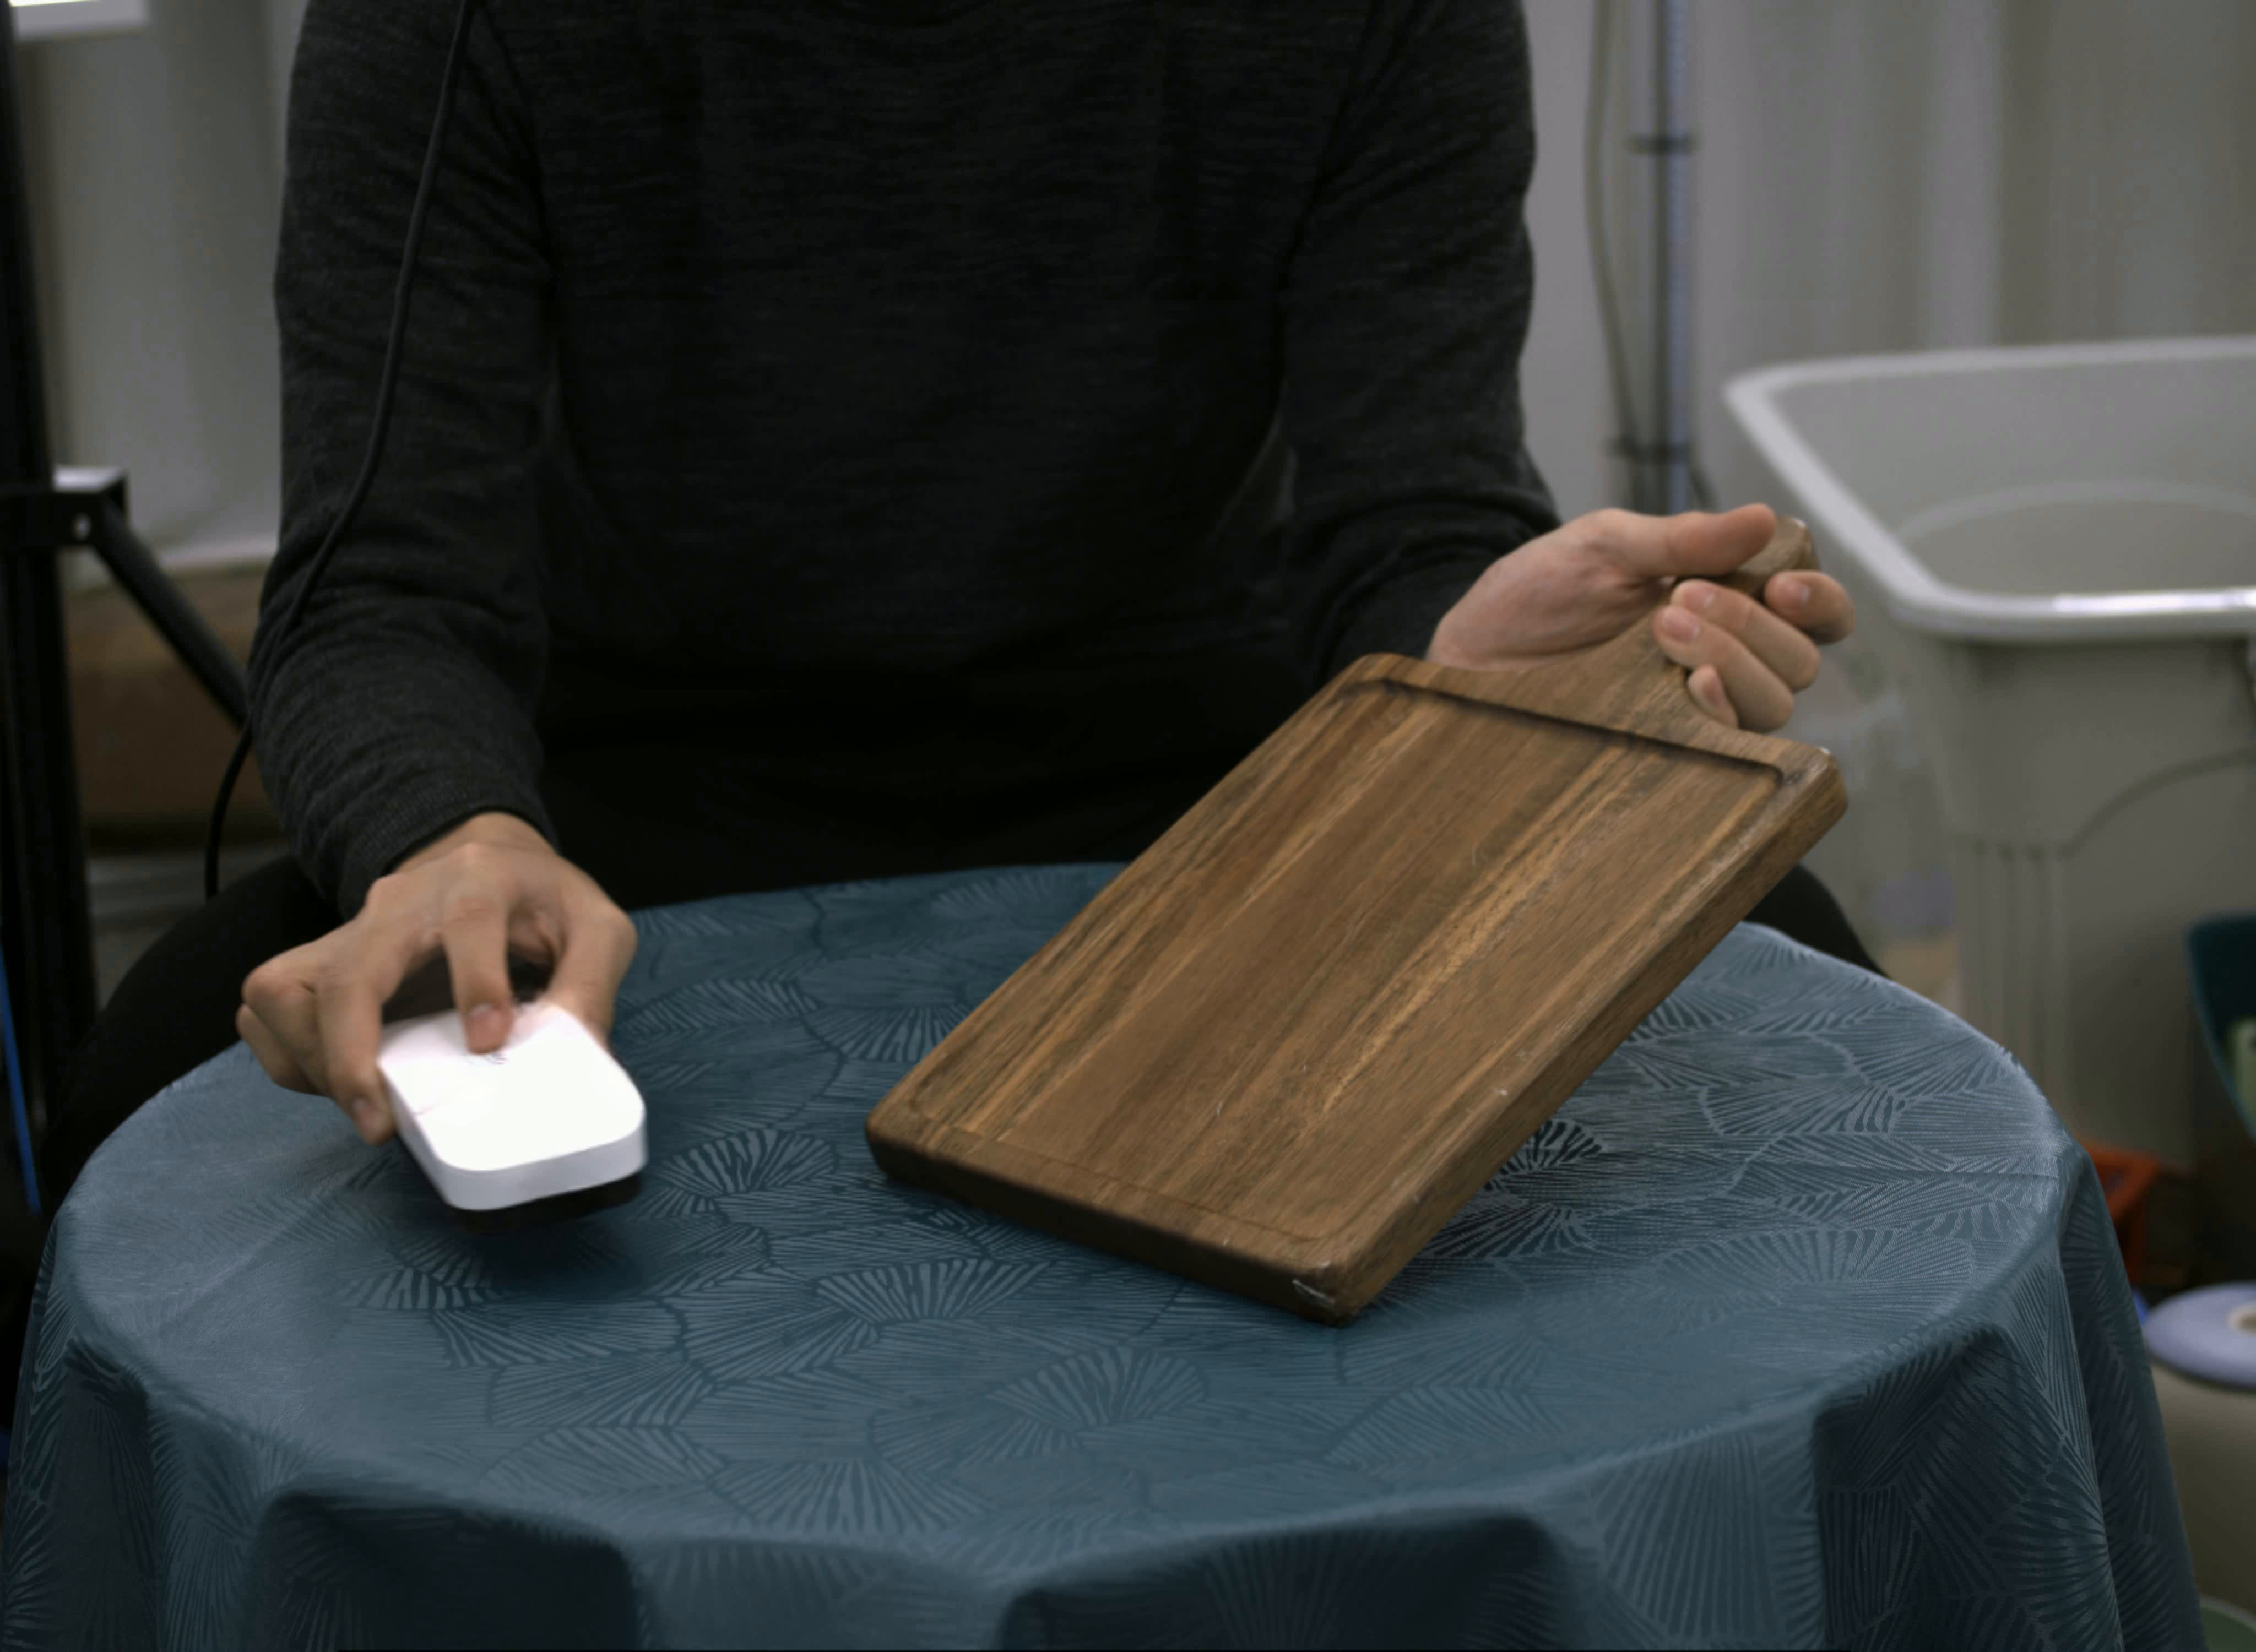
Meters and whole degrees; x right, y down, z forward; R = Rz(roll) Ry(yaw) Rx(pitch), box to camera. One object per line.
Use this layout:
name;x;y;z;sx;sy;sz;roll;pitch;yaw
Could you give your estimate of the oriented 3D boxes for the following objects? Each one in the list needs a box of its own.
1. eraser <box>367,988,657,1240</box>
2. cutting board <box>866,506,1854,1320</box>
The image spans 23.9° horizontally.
eraser;-0.179;0.080;1.556;0.062;0.034;0.133;-14;22;-16
cutting board;0.099;0.011;1.591;0.205;0.023;0.348;14;47;44
